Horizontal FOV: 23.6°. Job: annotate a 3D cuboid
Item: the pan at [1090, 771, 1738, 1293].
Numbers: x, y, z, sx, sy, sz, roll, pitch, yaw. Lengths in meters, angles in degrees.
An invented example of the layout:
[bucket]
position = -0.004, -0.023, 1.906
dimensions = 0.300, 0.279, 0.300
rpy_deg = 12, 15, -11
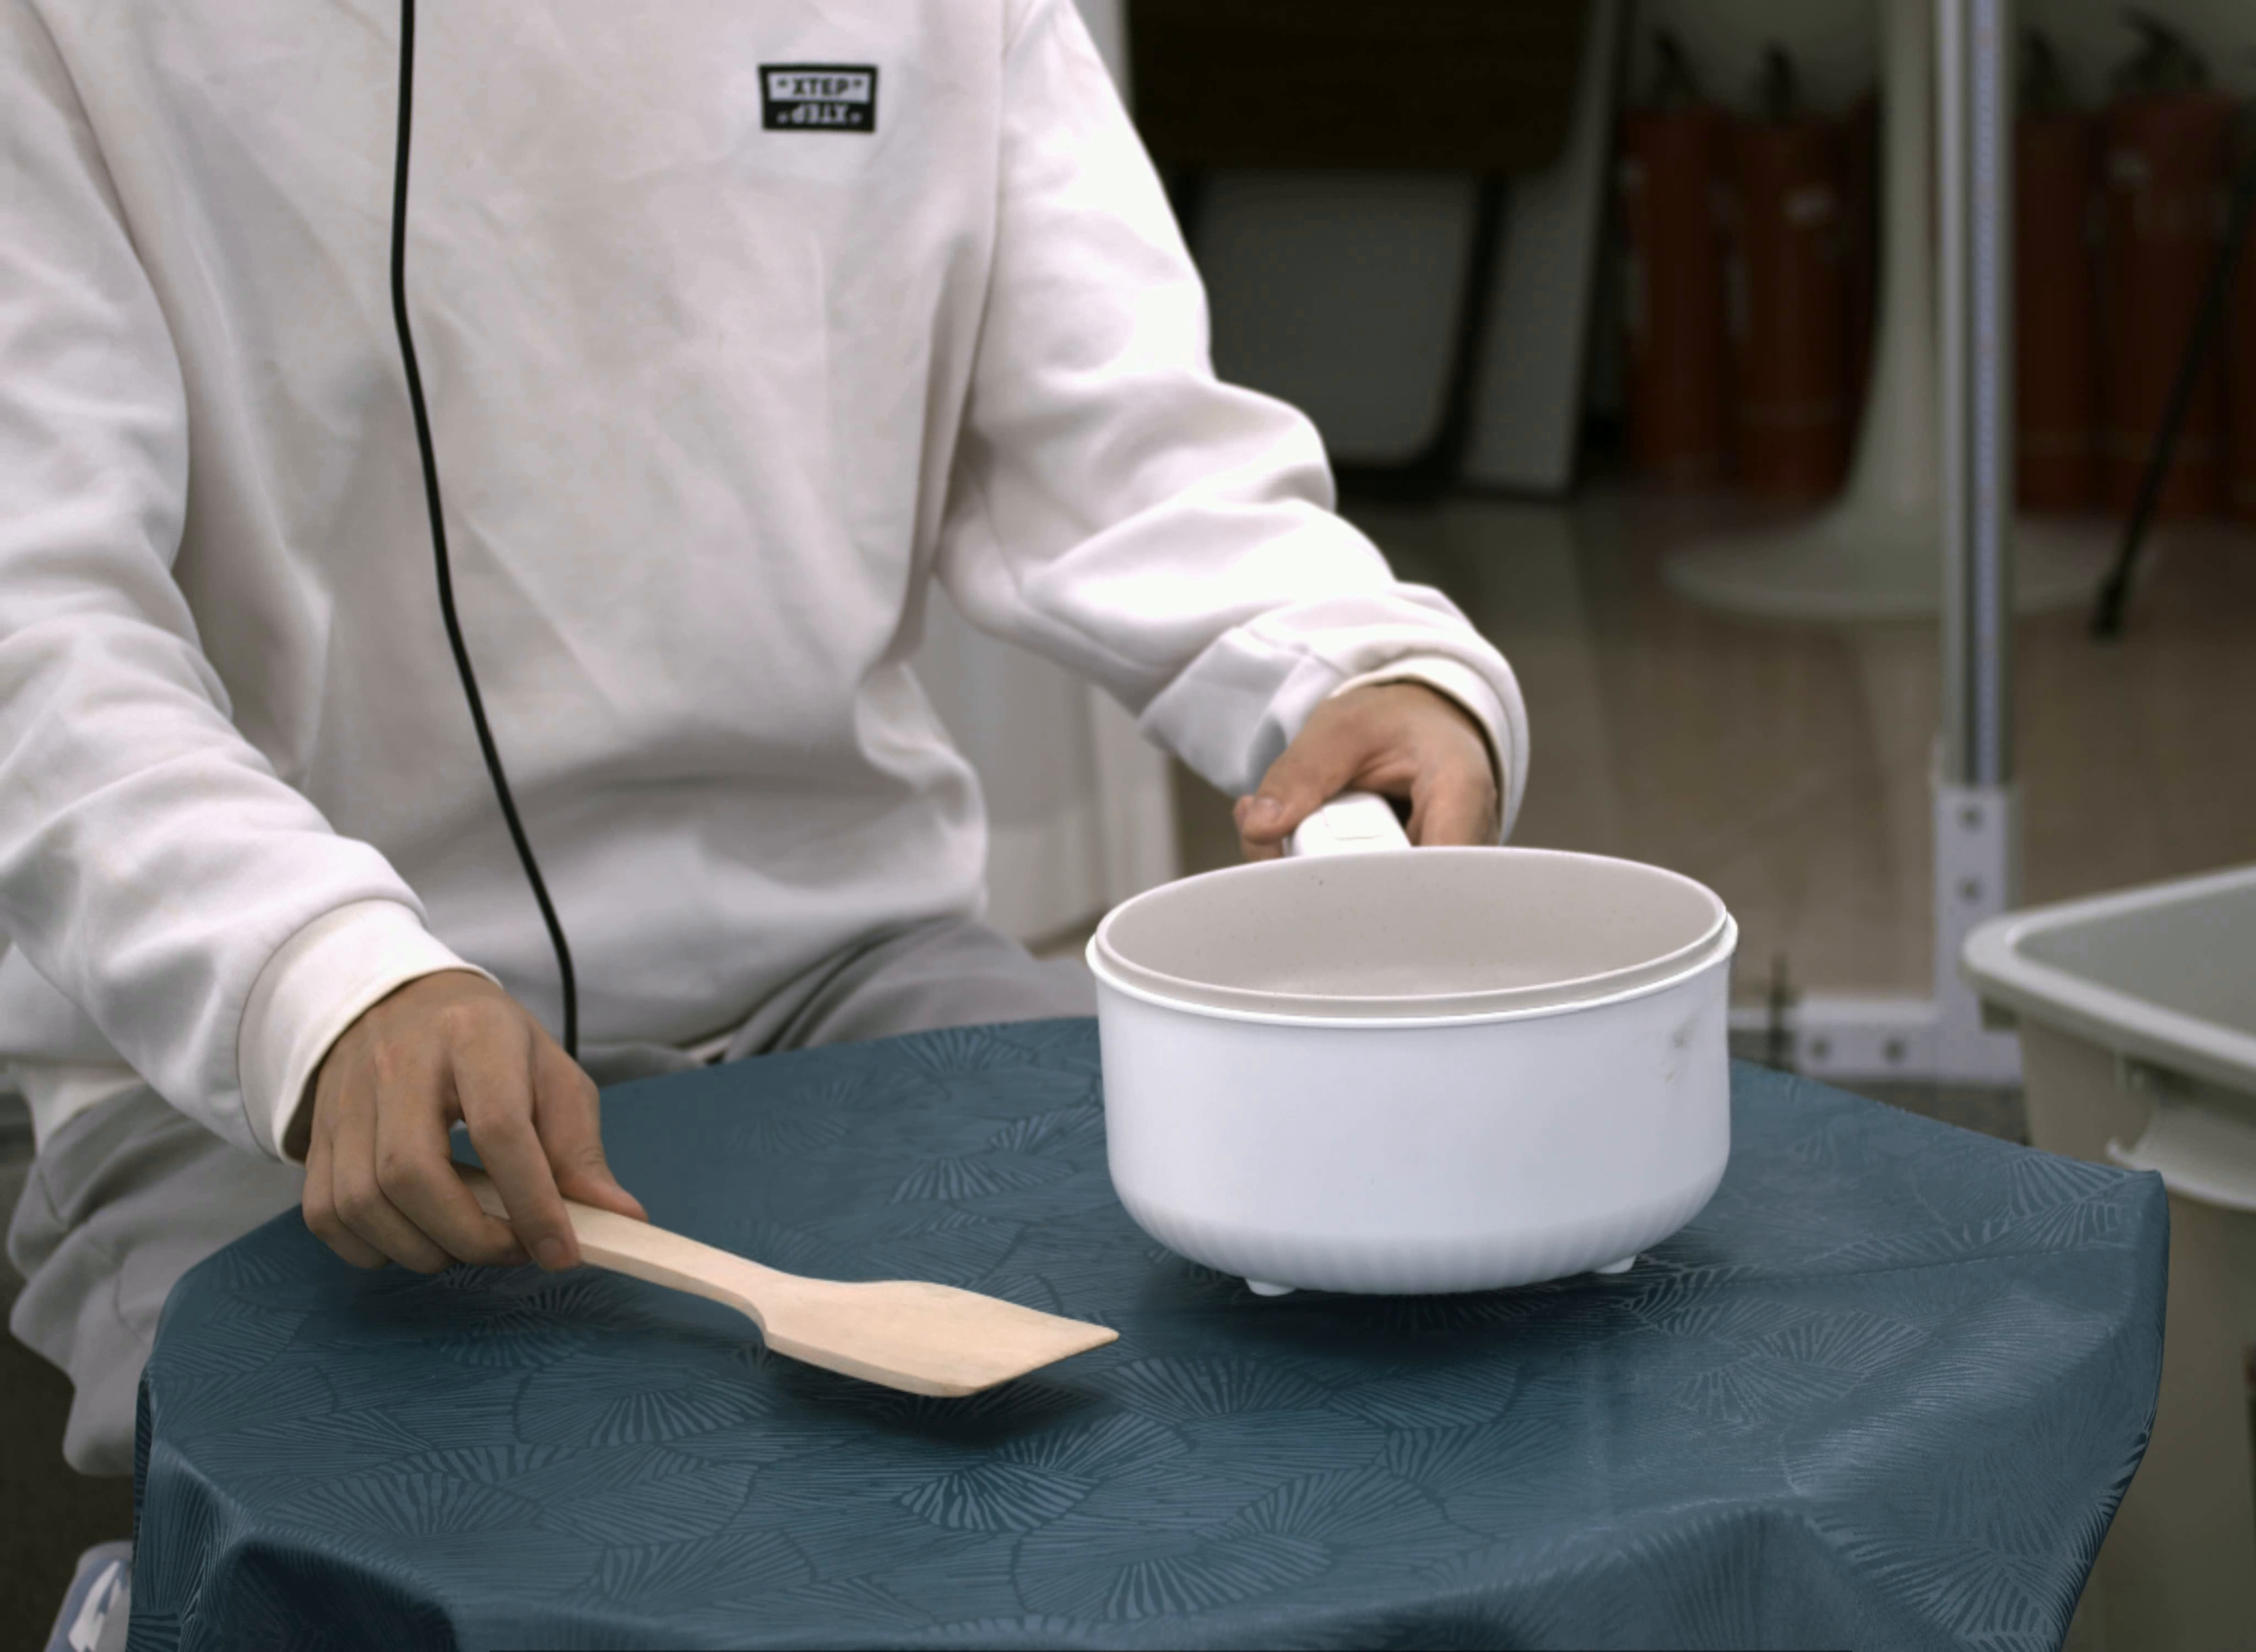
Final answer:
[pan]
position = 0.084, 0.062, 1.733
dimensions = 0.198, 0.103, 0.355
rpy_deg = -4, 11, -3

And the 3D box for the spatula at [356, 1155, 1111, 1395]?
[spatula]
position = -0.134, 0.135, 1.655
dimensions = 0.295, 0.011, 0.071
rpy_deg = 12, 18, 40
